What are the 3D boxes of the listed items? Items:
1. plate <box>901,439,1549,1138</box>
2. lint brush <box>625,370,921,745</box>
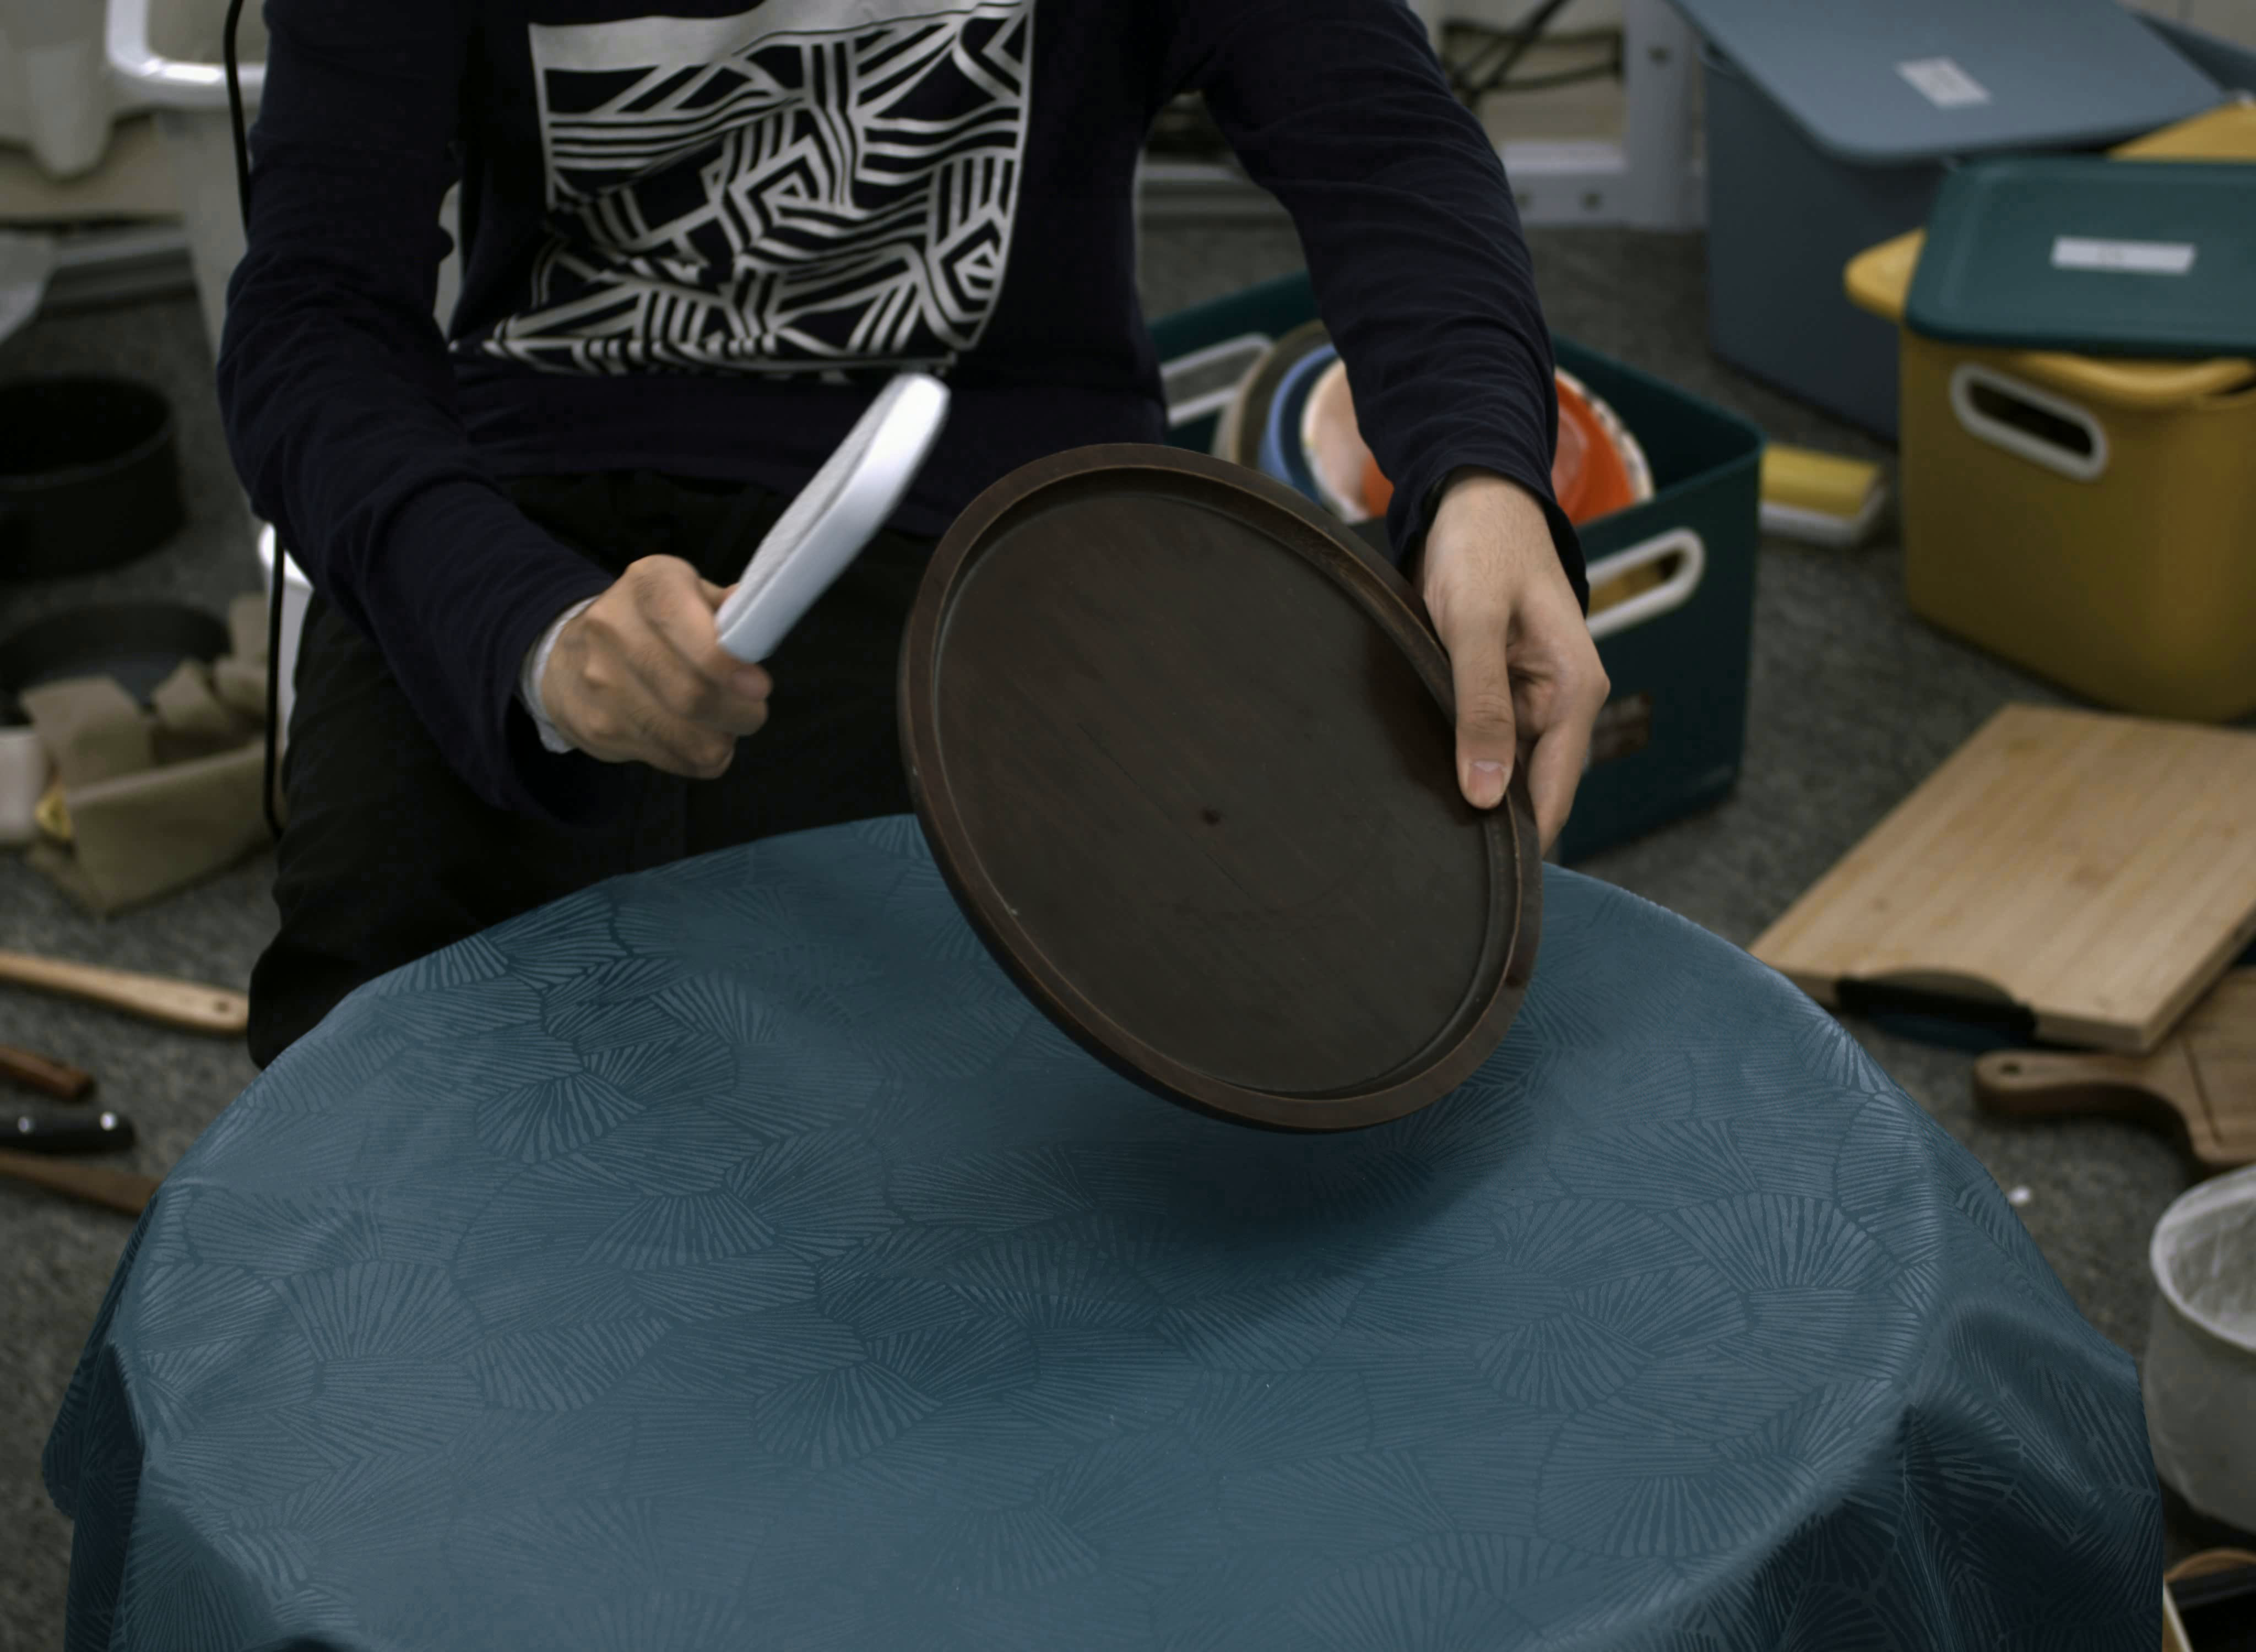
[{"bbox_3d":[0.032,-0.013,1.861,0.258,0.255,0.028,-33,-4,-45],"label":"plate"},{"bbox_3d":[-0.124,-0.084,1.911,0.021,0.304,0.061,26,66,-11],"label":"lint brush"}]
